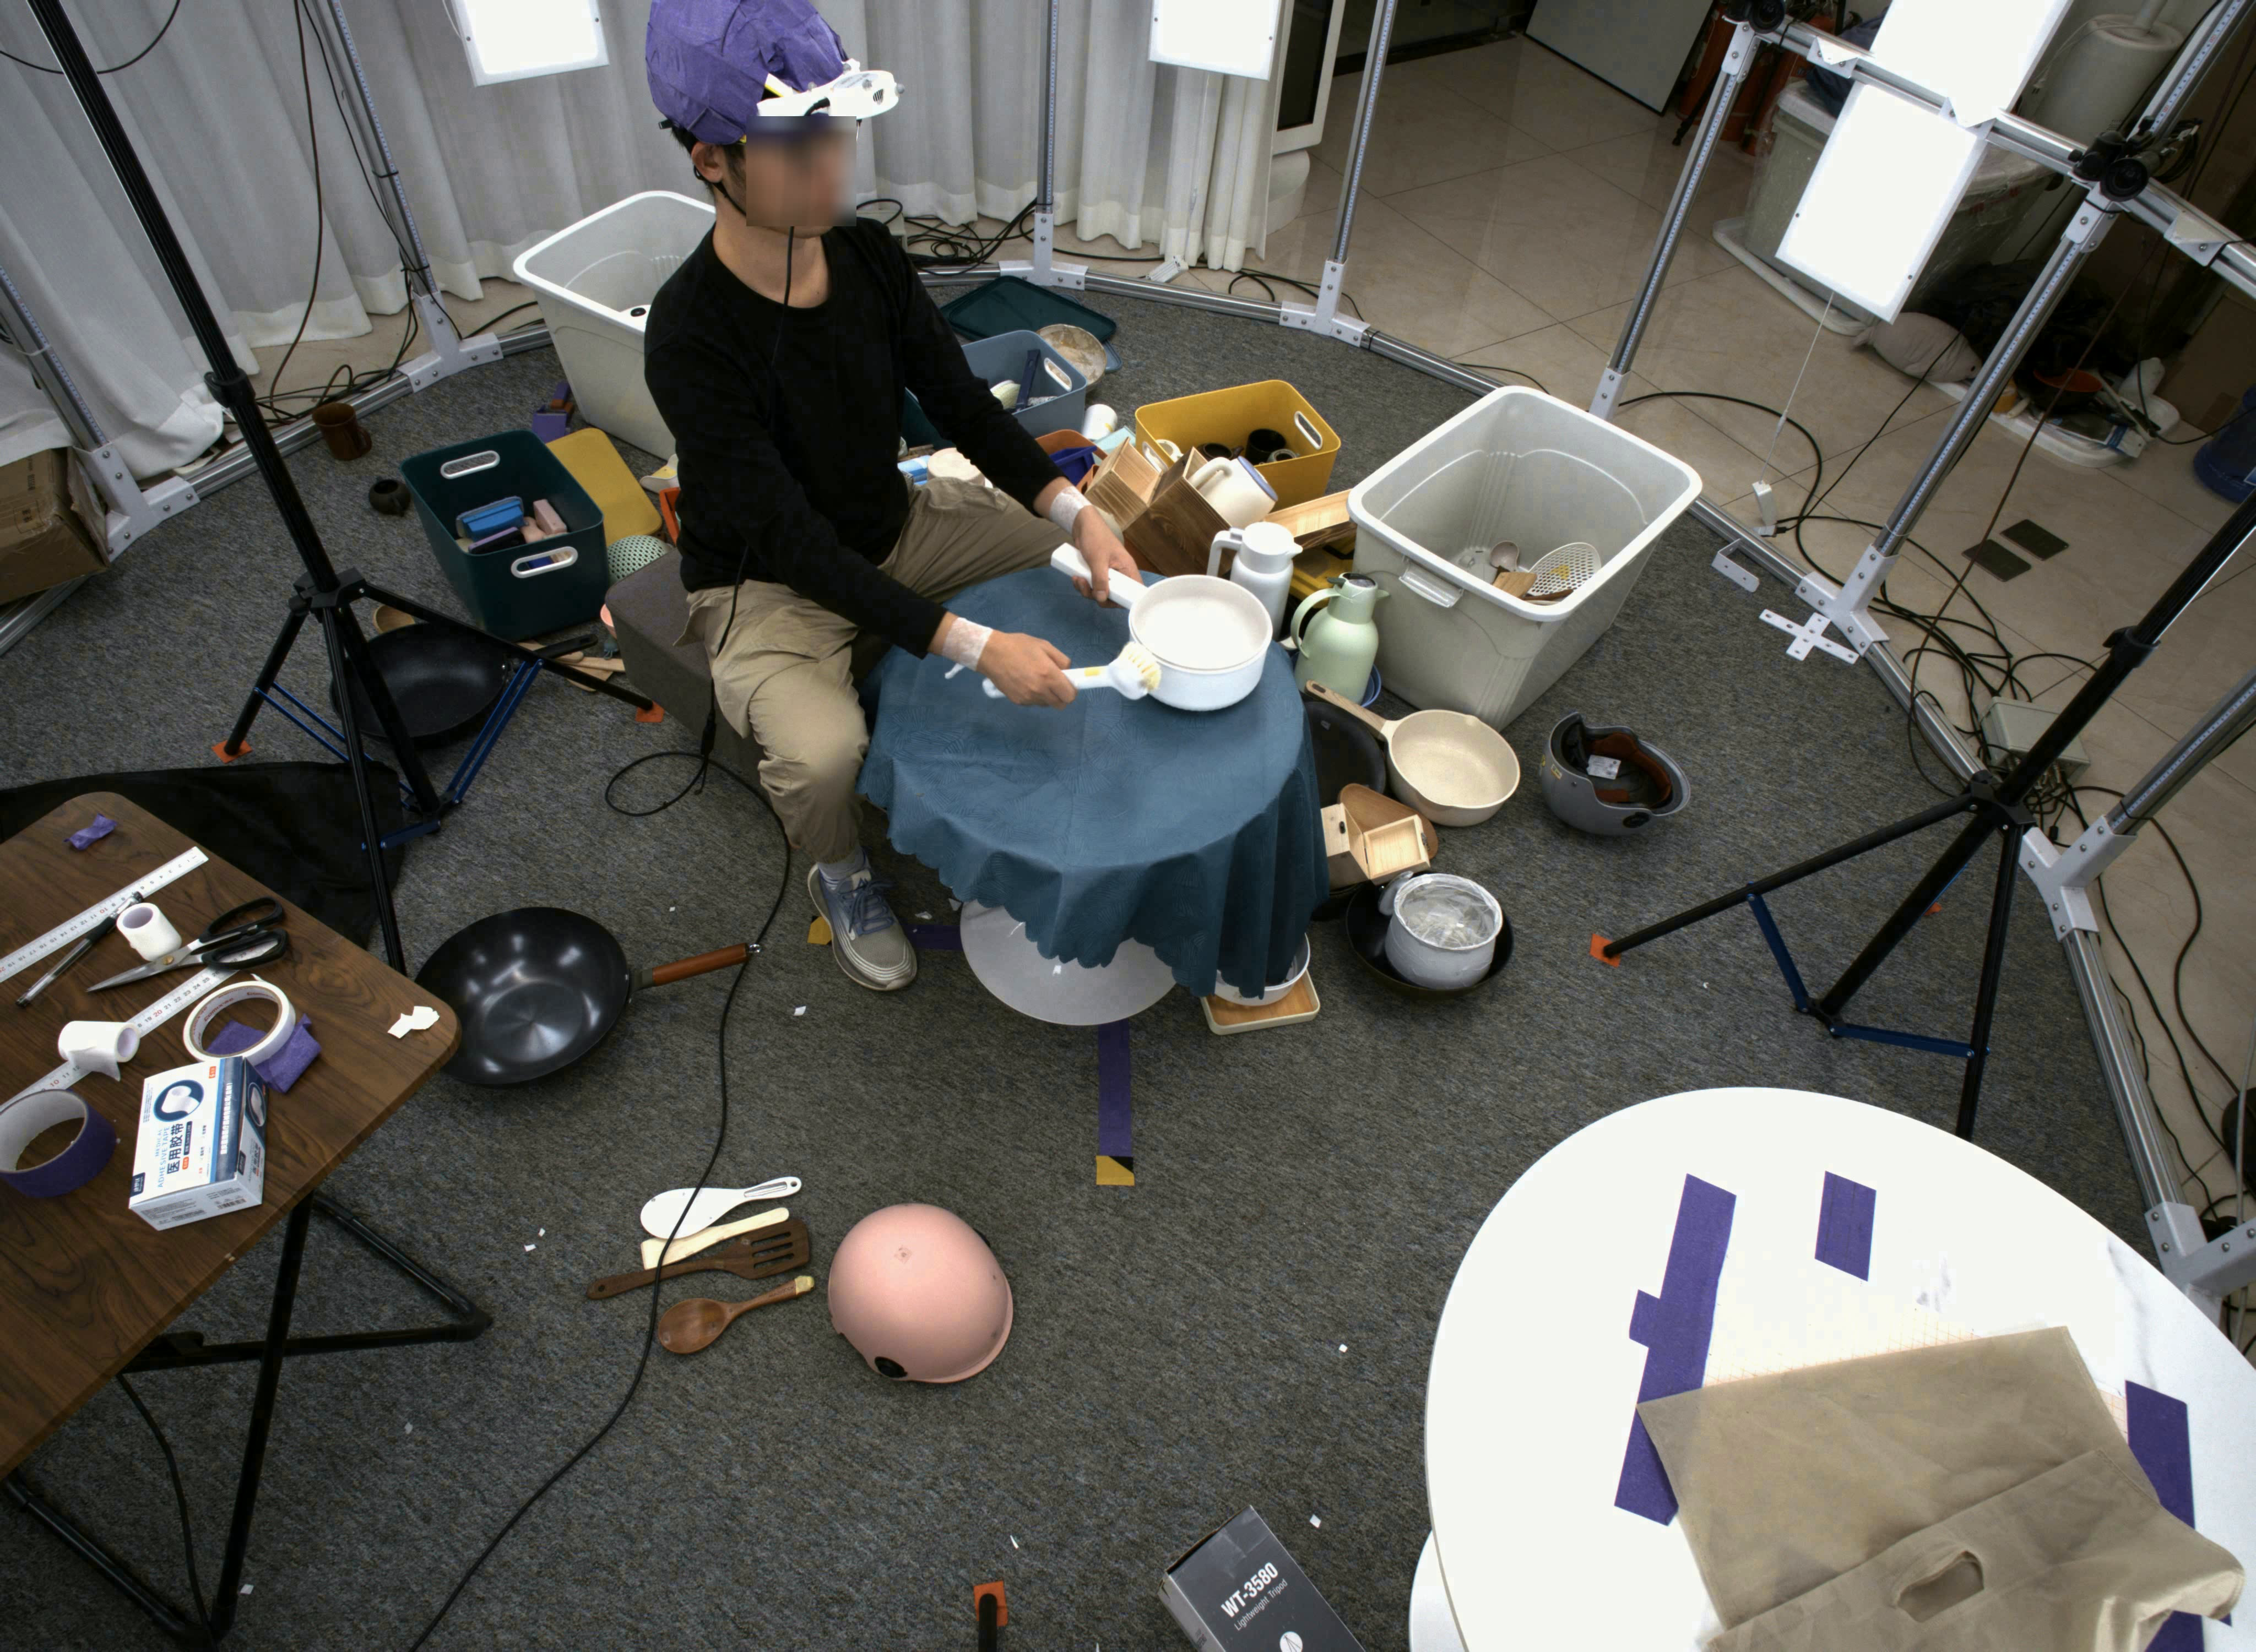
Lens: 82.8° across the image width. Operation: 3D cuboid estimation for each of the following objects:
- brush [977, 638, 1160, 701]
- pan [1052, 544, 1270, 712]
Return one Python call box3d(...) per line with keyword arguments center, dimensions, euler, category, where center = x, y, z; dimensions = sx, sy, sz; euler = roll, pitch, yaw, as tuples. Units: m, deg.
box3d(center=(-0.080, -0.202, 1.713), dimensions=(0.267, 0.067, 0.057), euler=(-3, 27, 29), category="brush")
box3d(center=(0.037, -0.292, 1.865), dimensions=(0.359, 0.099, 0.204), euler=(31, 55, 22), category="pan")
